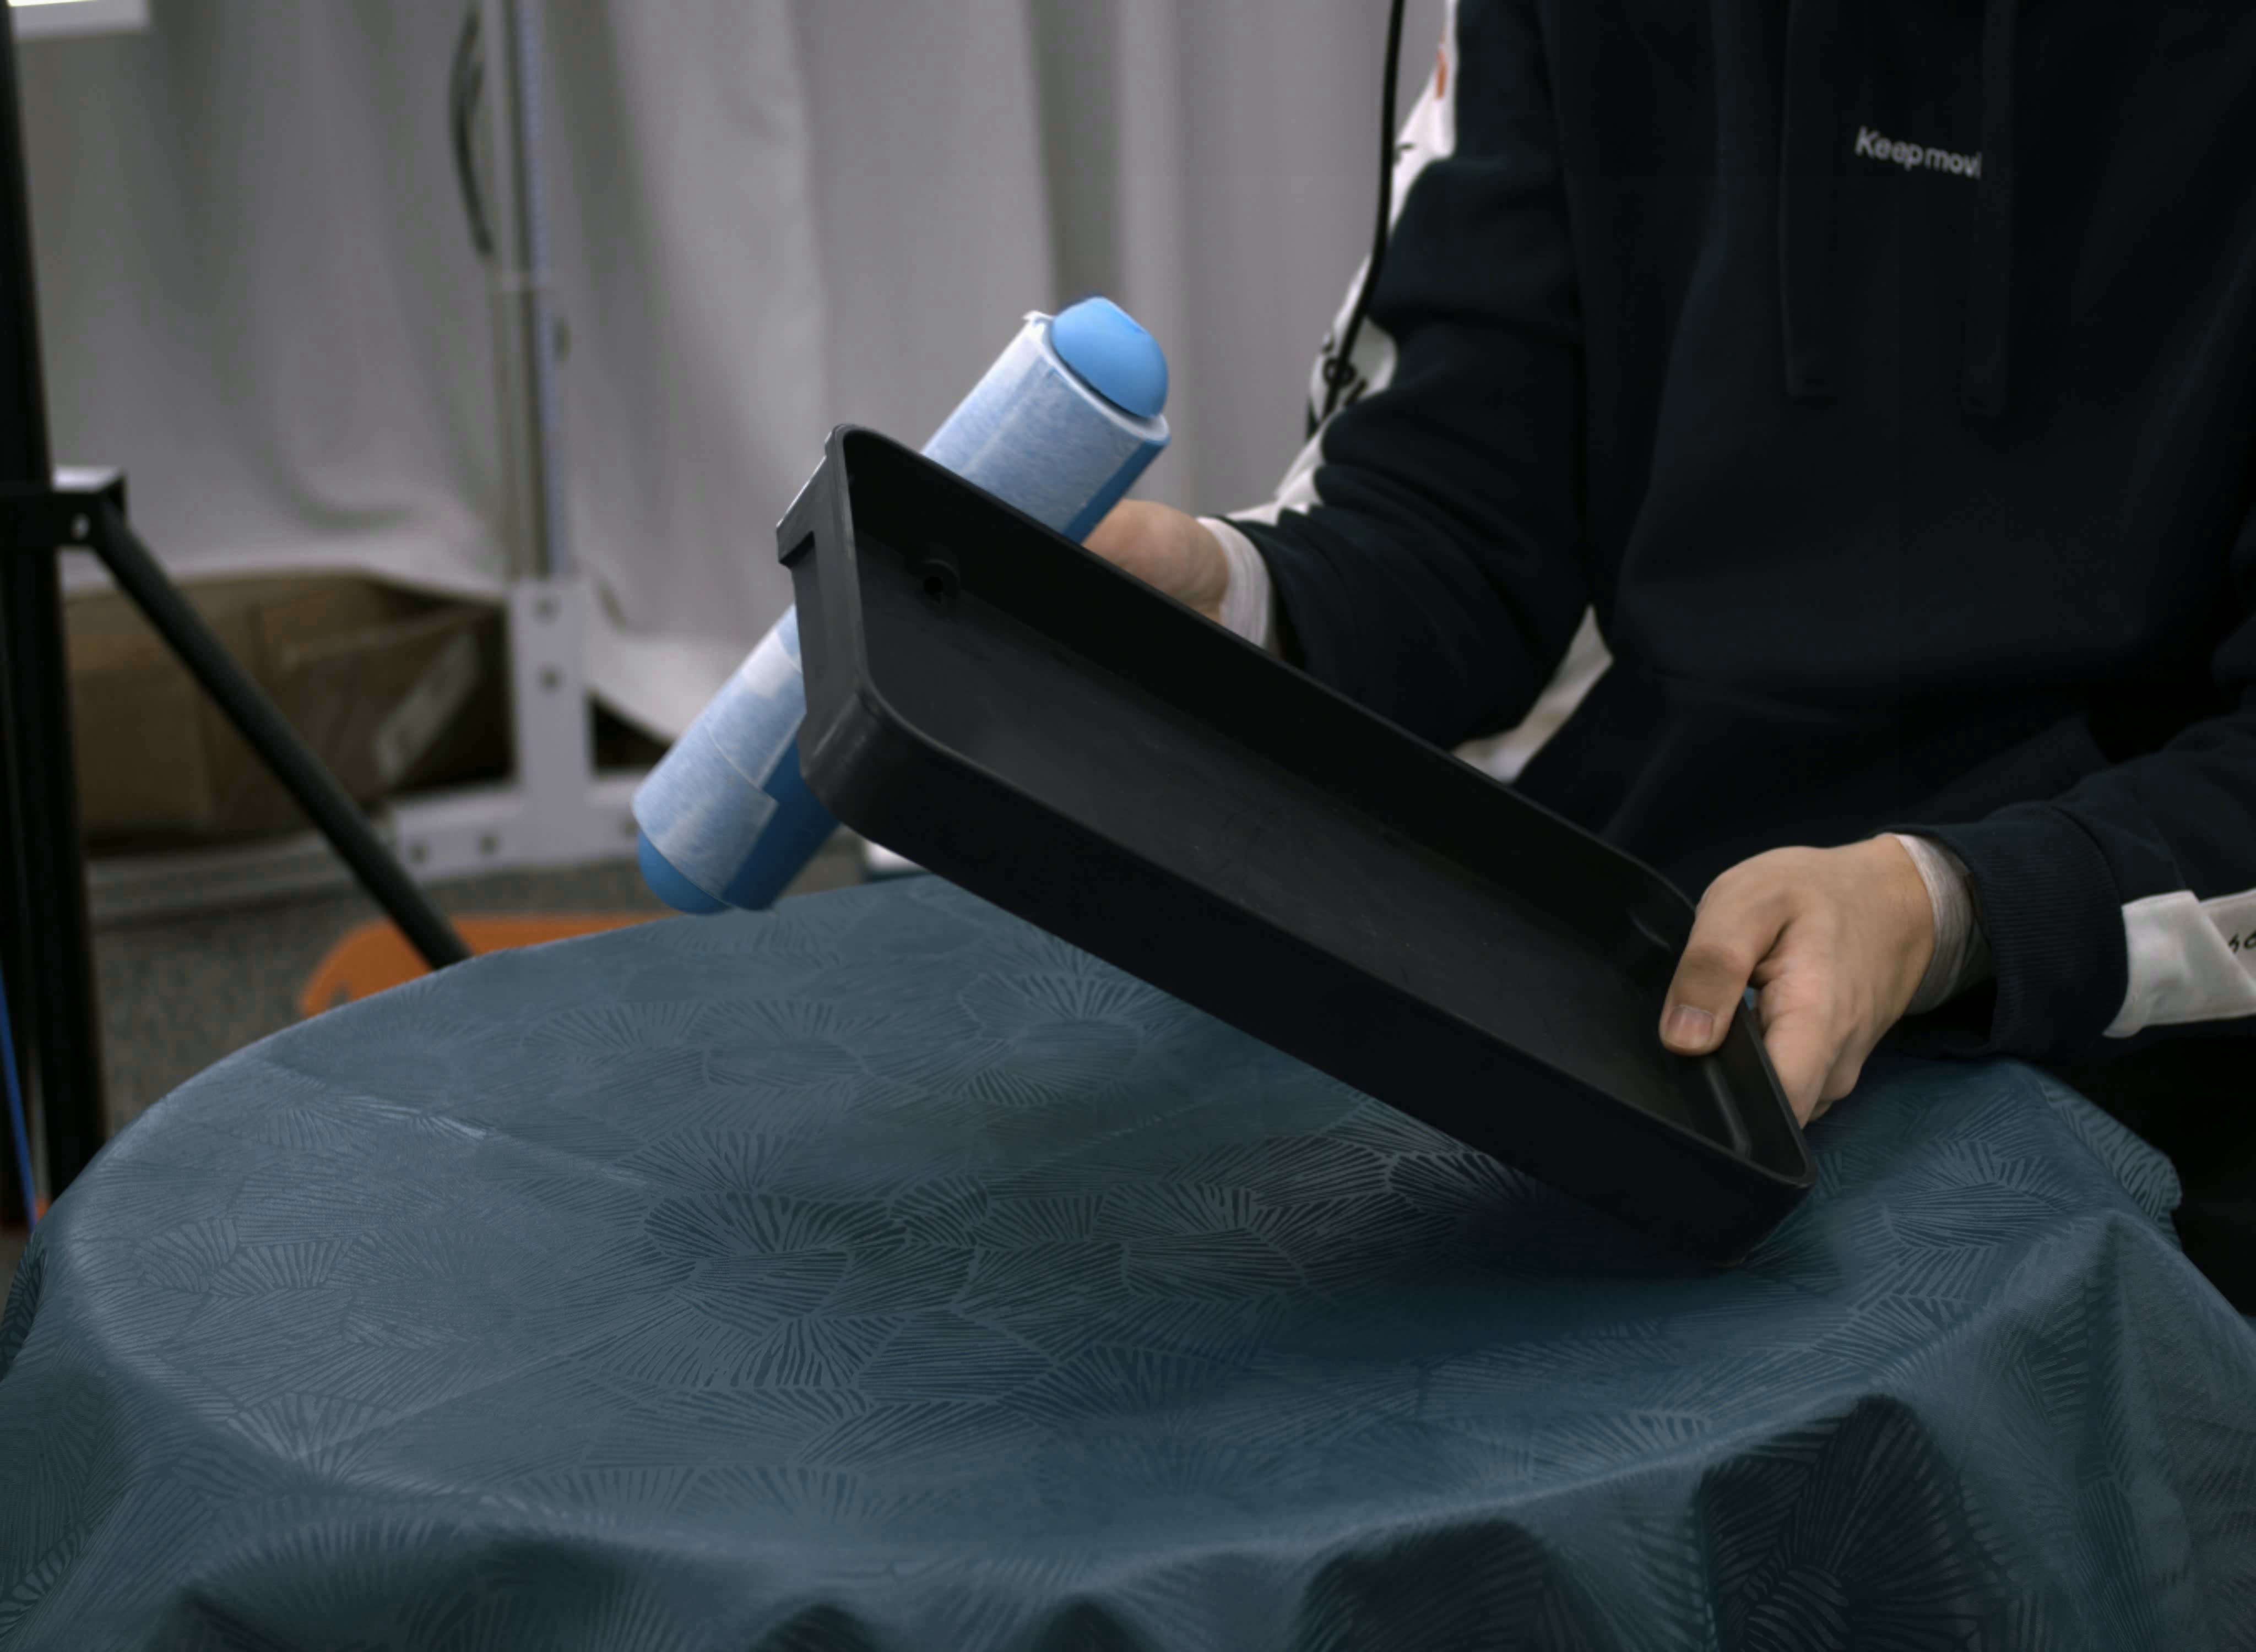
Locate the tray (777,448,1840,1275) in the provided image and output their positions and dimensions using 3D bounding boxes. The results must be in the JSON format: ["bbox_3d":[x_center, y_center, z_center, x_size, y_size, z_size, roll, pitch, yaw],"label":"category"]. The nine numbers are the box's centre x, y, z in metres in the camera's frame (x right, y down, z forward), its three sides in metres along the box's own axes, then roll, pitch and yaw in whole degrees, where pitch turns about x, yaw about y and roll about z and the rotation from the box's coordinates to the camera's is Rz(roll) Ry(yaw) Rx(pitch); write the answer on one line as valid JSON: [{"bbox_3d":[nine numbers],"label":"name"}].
[{"bbox_3d":[0.048,0.010,1.489,0.312,0.037,0.186,26,22,-19],"label":"tray"}]

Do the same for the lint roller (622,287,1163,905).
[{"bbox_3d":[-0.048,-0.063,1.625,0.069,0.230,0.177,46,16,18],"label":"lint roller"}]
